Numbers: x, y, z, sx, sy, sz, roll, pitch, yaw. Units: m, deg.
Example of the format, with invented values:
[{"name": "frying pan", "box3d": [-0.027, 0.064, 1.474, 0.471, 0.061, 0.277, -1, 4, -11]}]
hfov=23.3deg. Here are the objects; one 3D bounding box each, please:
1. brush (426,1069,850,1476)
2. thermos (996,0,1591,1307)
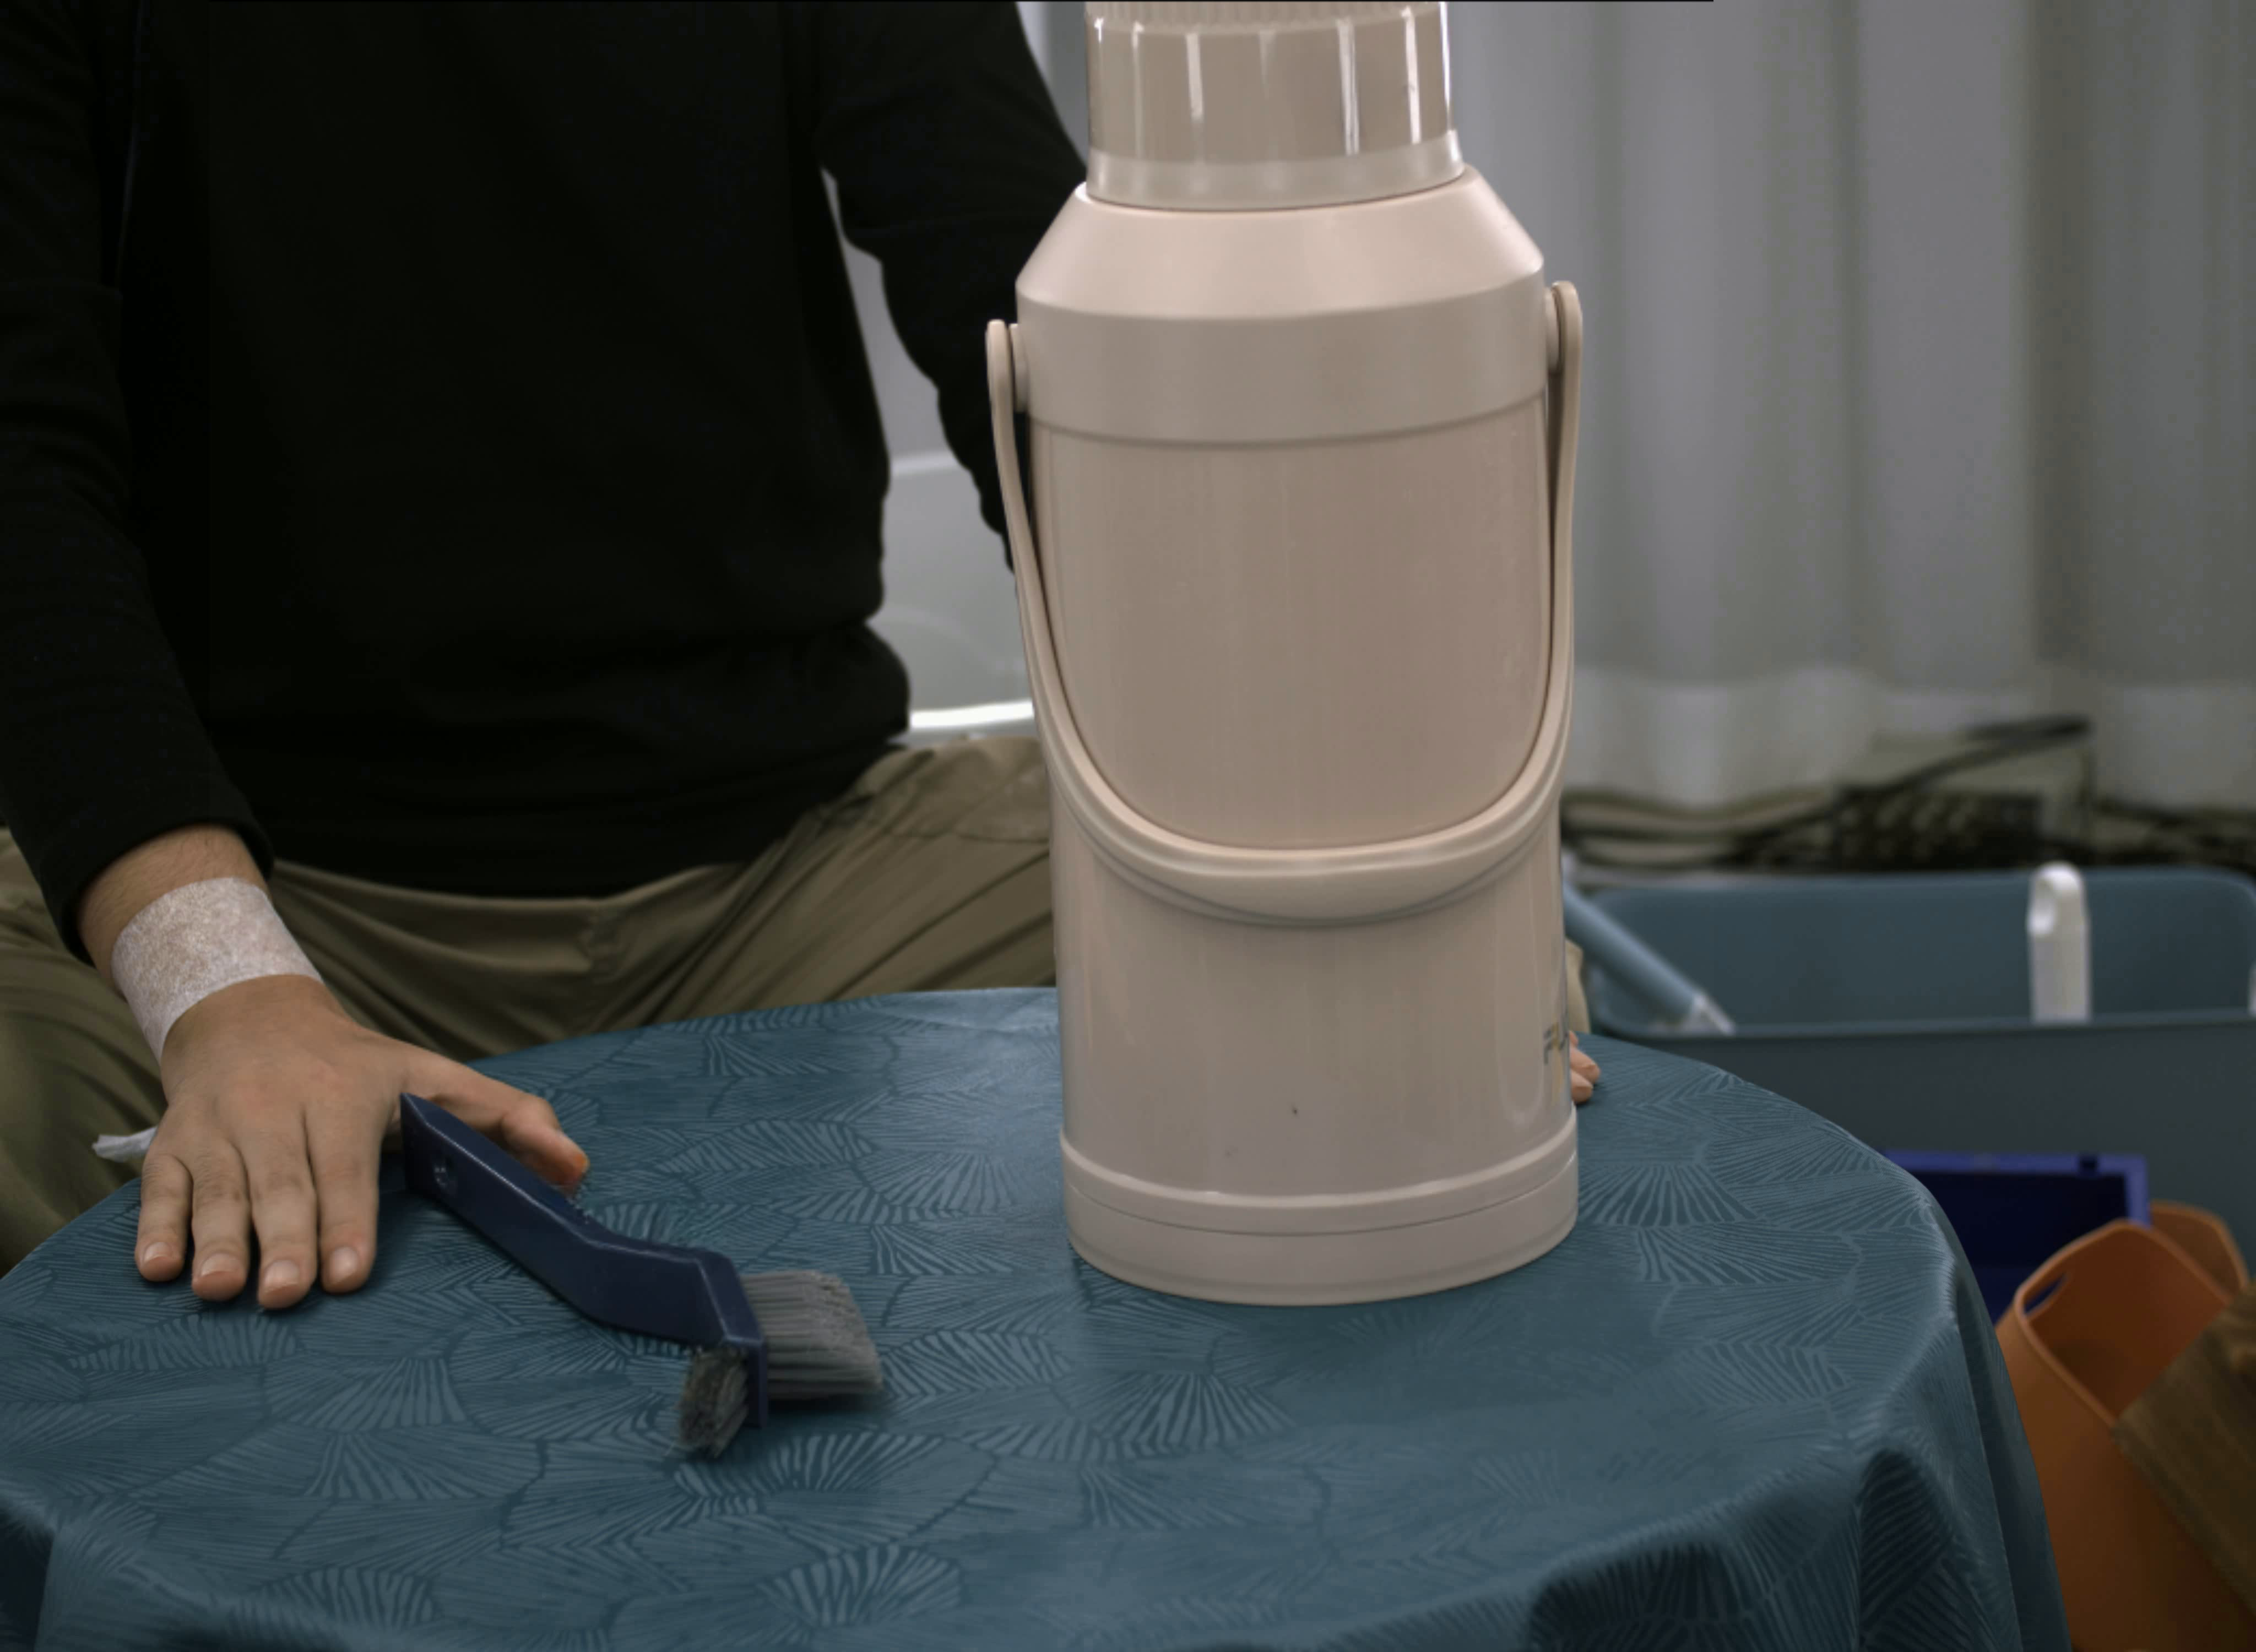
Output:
[{"name": "brush", "box3d": [-0.168, 0.129, 1.630, 0.095, 0.033, 0.275, -12, 20, -33]}, {"name": "thermos", "box3d": [0.052, -0.074, 1.647, 0.174, 0.405, 0.208, -6, 14, -5]}]
